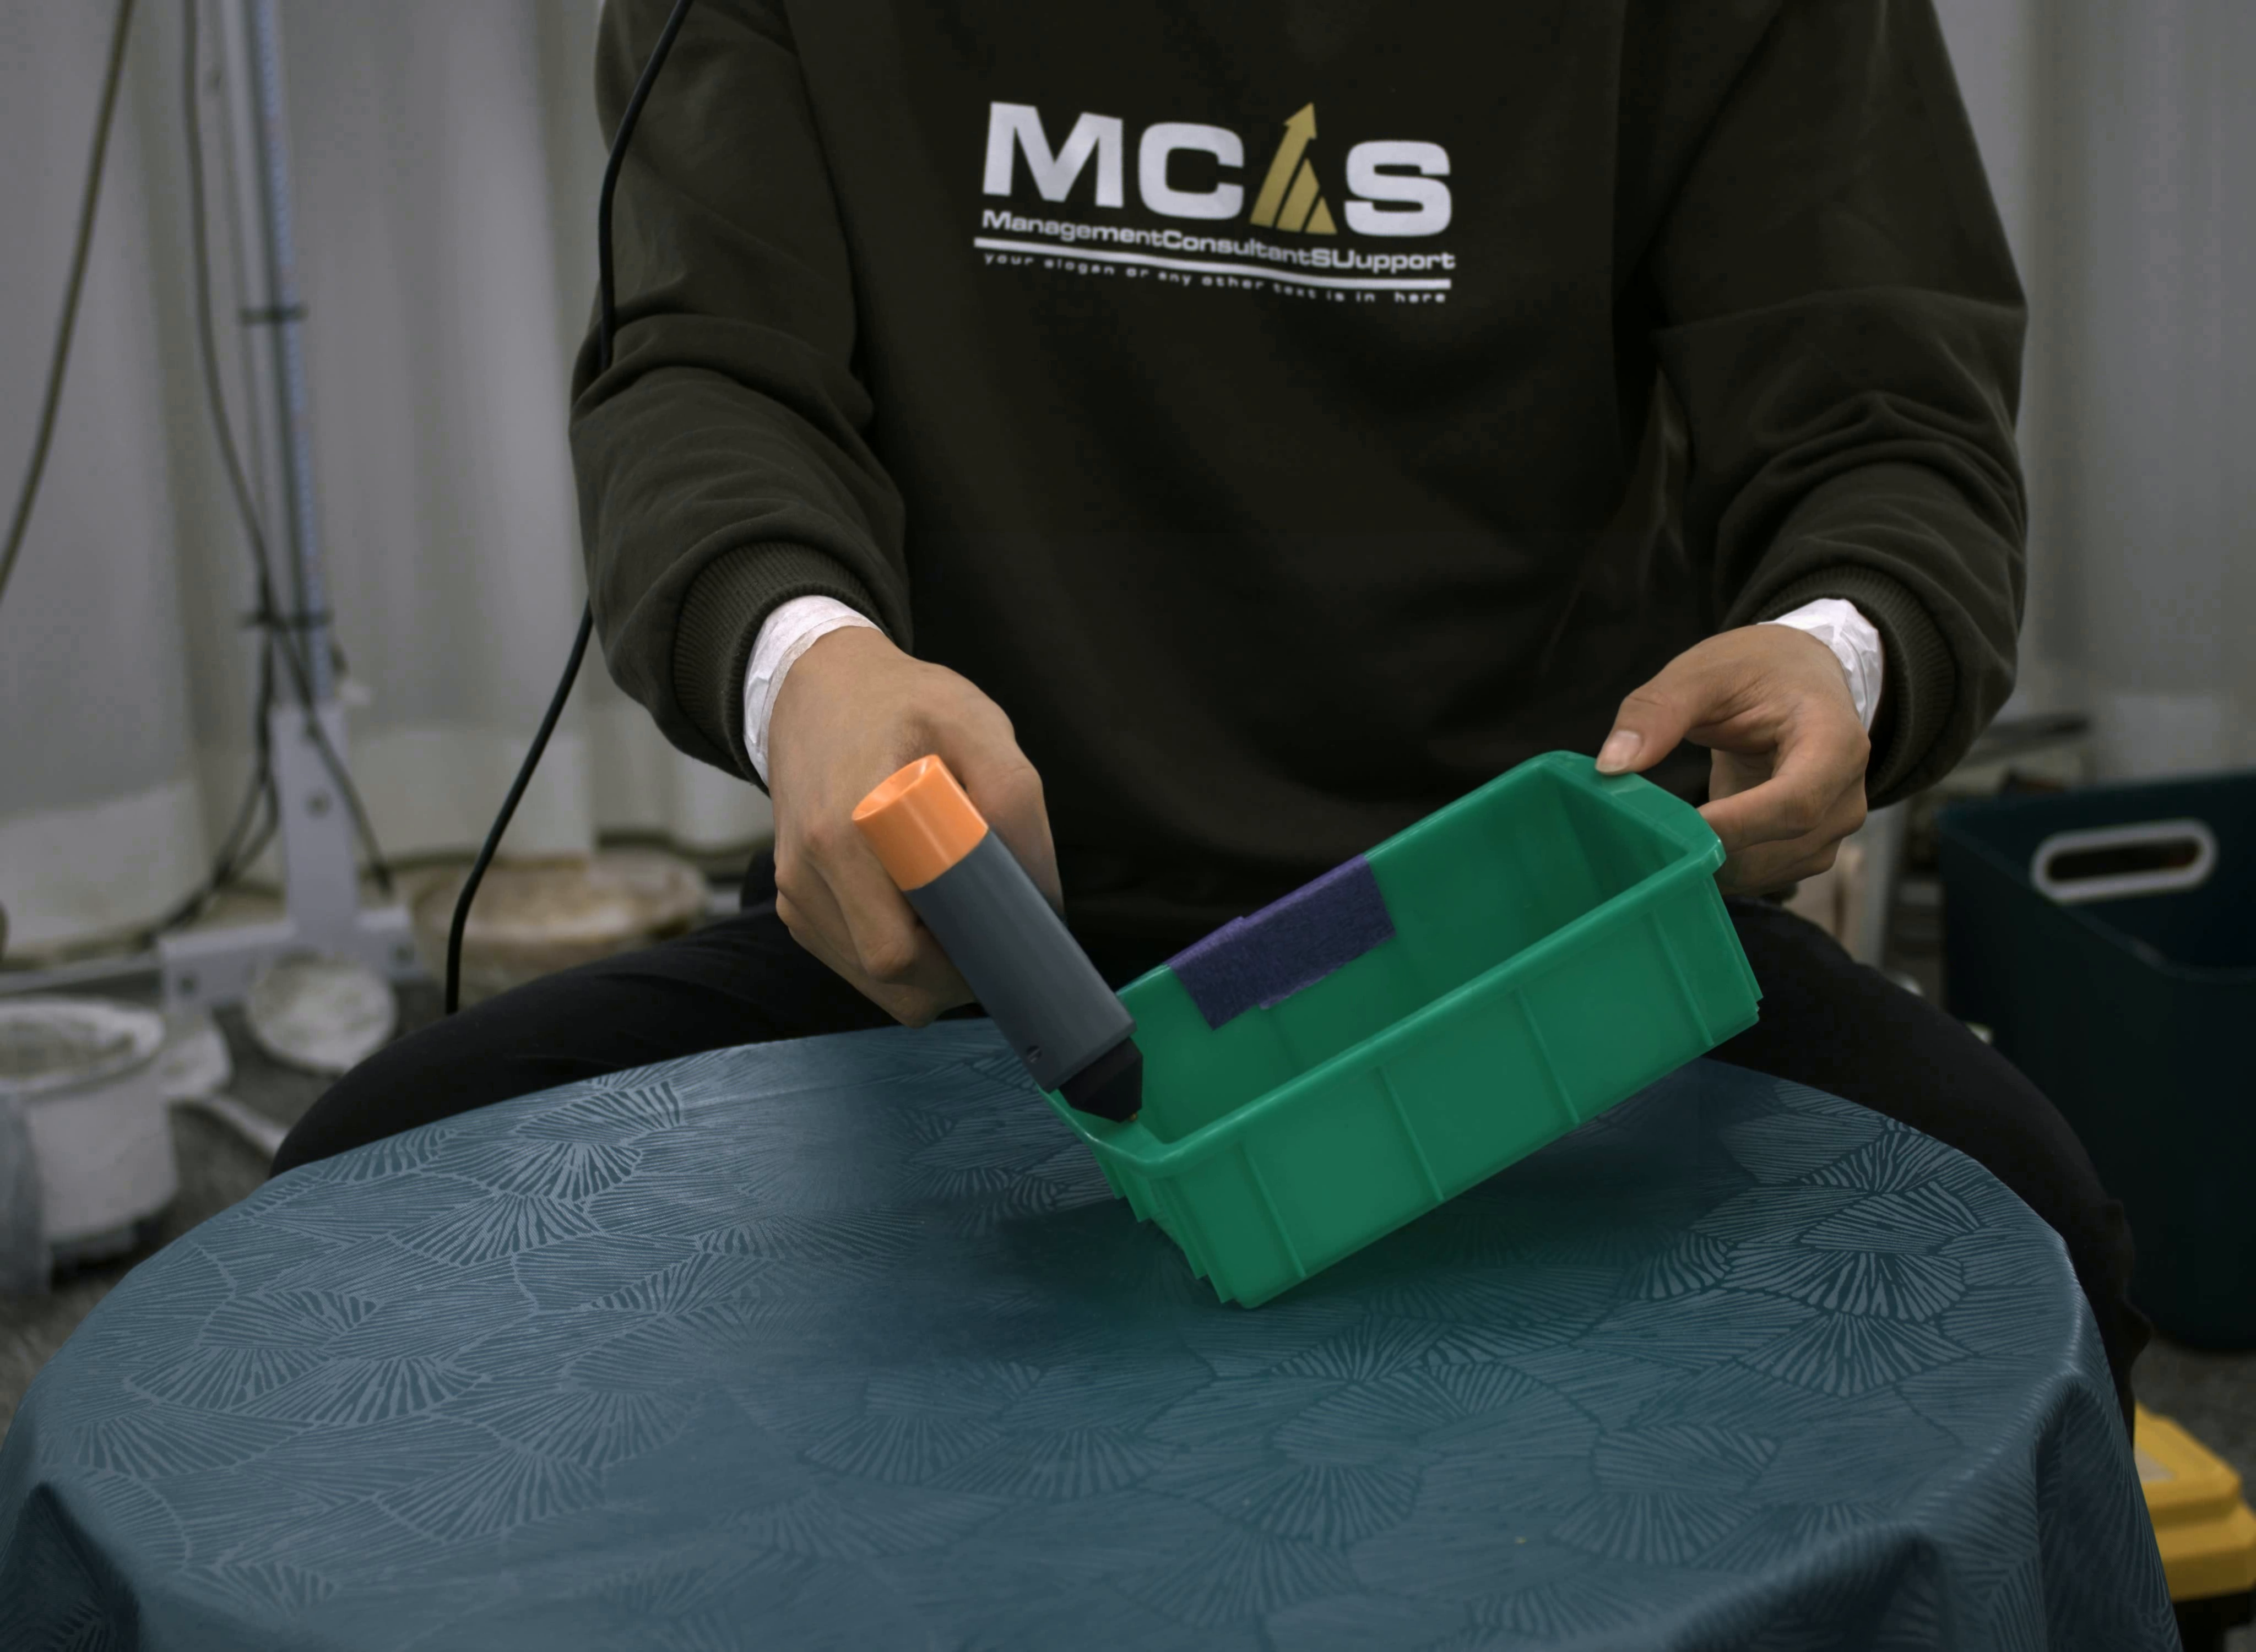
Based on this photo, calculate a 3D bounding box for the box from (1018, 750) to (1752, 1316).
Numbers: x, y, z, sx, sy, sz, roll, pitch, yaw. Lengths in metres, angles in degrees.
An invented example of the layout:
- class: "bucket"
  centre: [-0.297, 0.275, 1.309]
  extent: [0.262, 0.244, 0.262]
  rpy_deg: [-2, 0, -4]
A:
- class: "box"
  centre: [0.081, 0.063, 1.662]
  extent: [0.210, 0.065, 0.139]
  rpy_deg: [-30, 19, -11]

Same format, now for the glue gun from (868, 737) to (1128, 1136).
- class: "glue gun"
  centre: [-0.039, 0.028, 1.654]
  extent: [0.041, 0.117, 0.141]
  rpy_deg: [-29, 14, 1]
